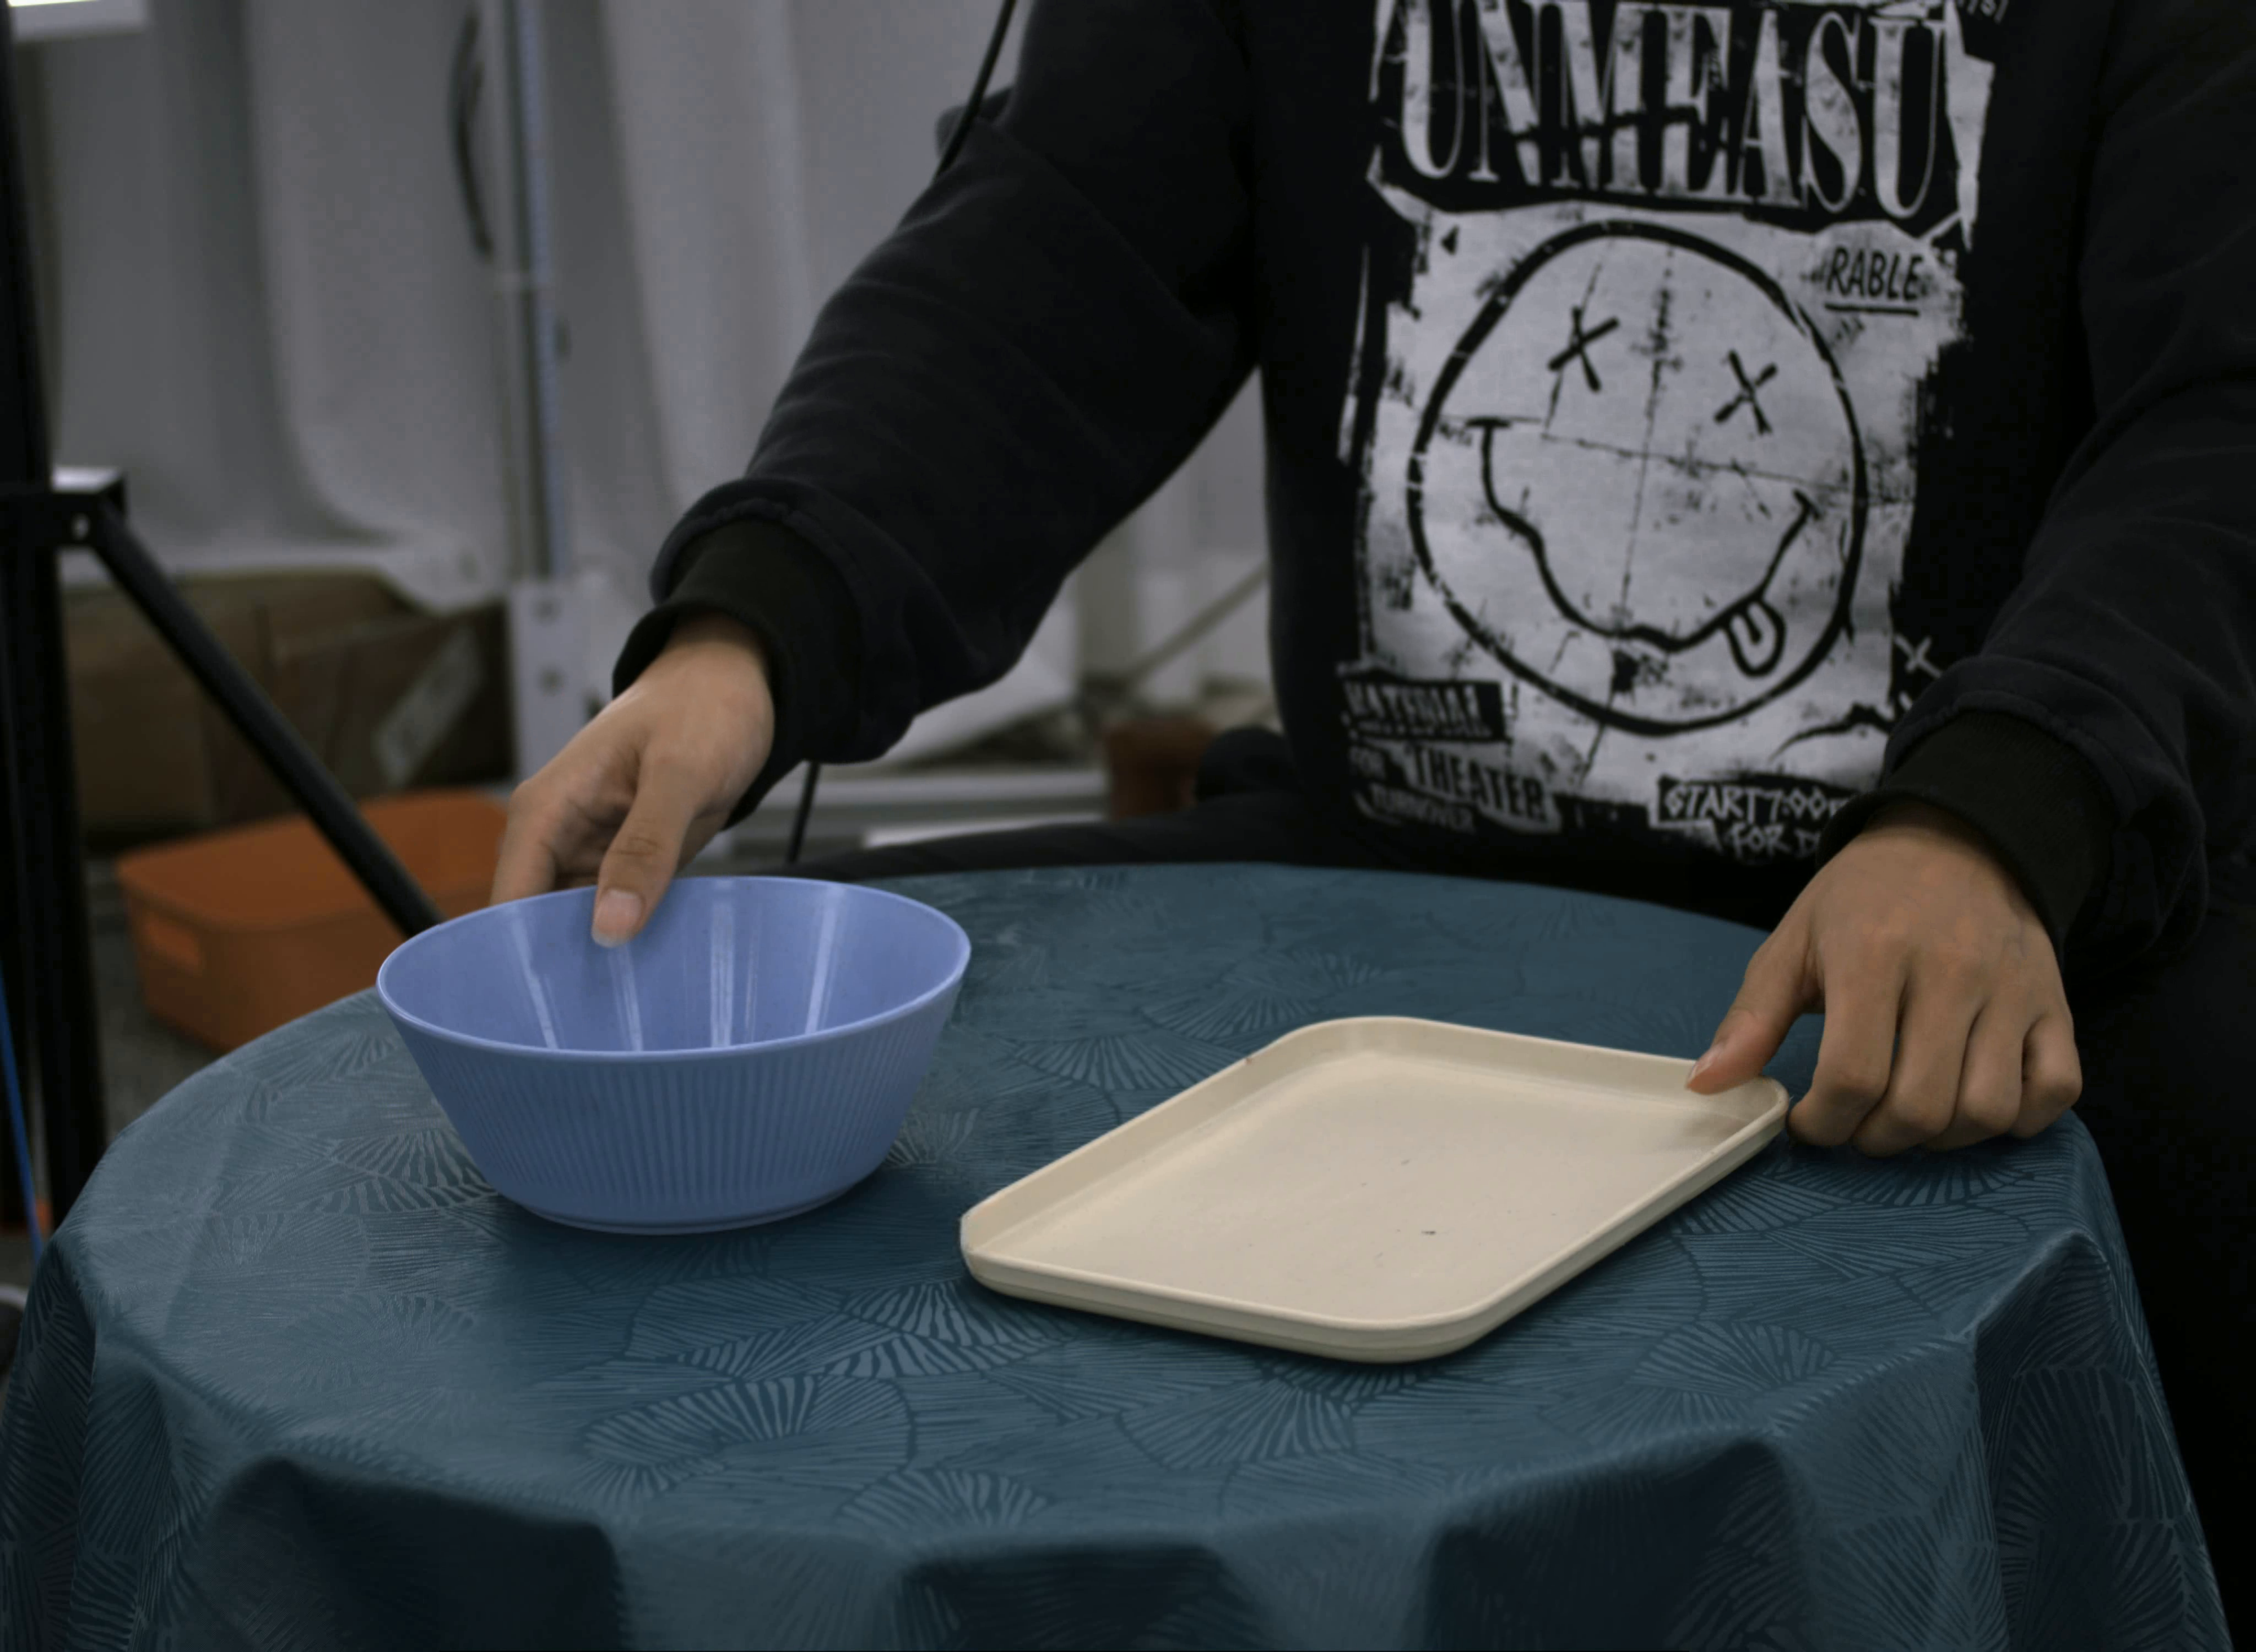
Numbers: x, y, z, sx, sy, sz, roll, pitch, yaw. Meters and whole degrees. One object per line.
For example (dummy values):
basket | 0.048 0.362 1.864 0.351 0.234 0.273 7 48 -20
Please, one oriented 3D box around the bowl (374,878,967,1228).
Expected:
bowl | -0.134 0.070 1.585 0.175 0.070 0.177 -2 16 -1

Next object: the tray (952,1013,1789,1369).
tray | 0.073 0.104 1.529 0.174 0.017 0.235 9 19 33
